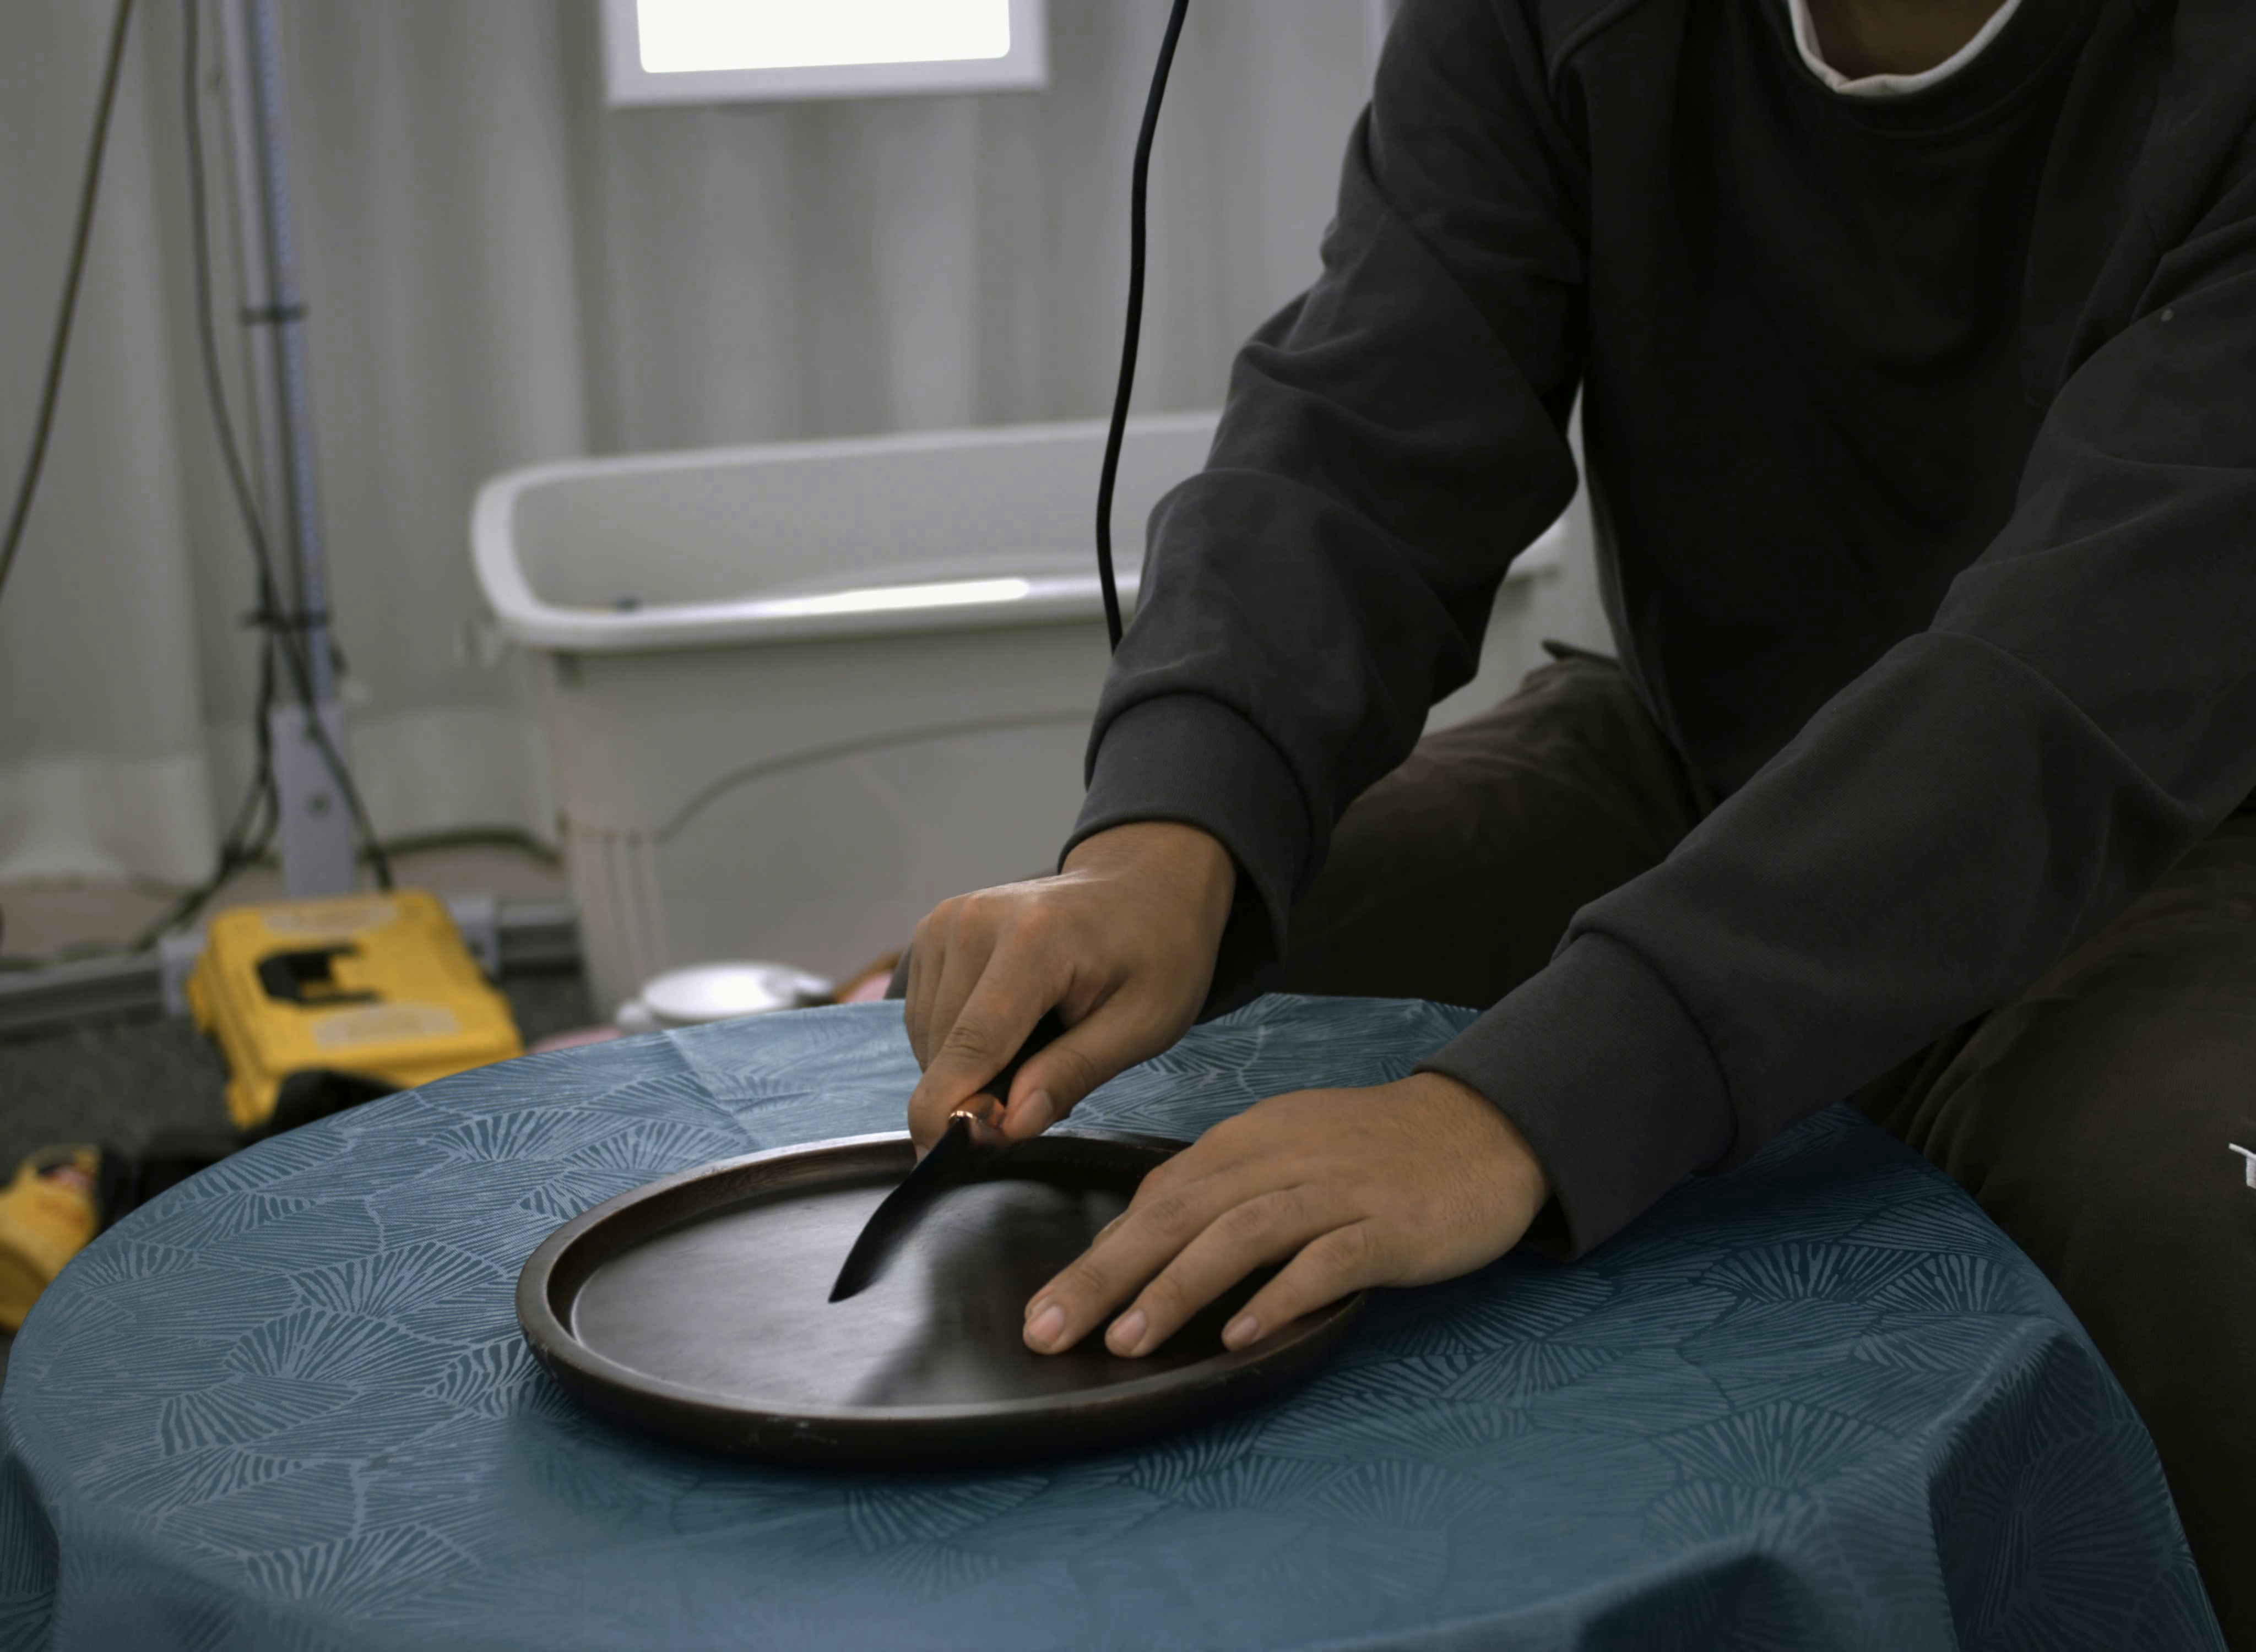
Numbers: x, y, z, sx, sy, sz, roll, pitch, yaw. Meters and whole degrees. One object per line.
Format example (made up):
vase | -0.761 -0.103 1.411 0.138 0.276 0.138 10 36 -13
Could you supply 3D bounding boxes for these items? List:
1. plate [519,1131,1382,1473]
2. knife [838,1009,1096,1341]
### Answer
plate | -0.051 0.137 1.599 0.254 0.029 0.256 -3 13 0
knife | -0.048 0.102 1.641 0.017 0.026 0.227 -9 16 21
